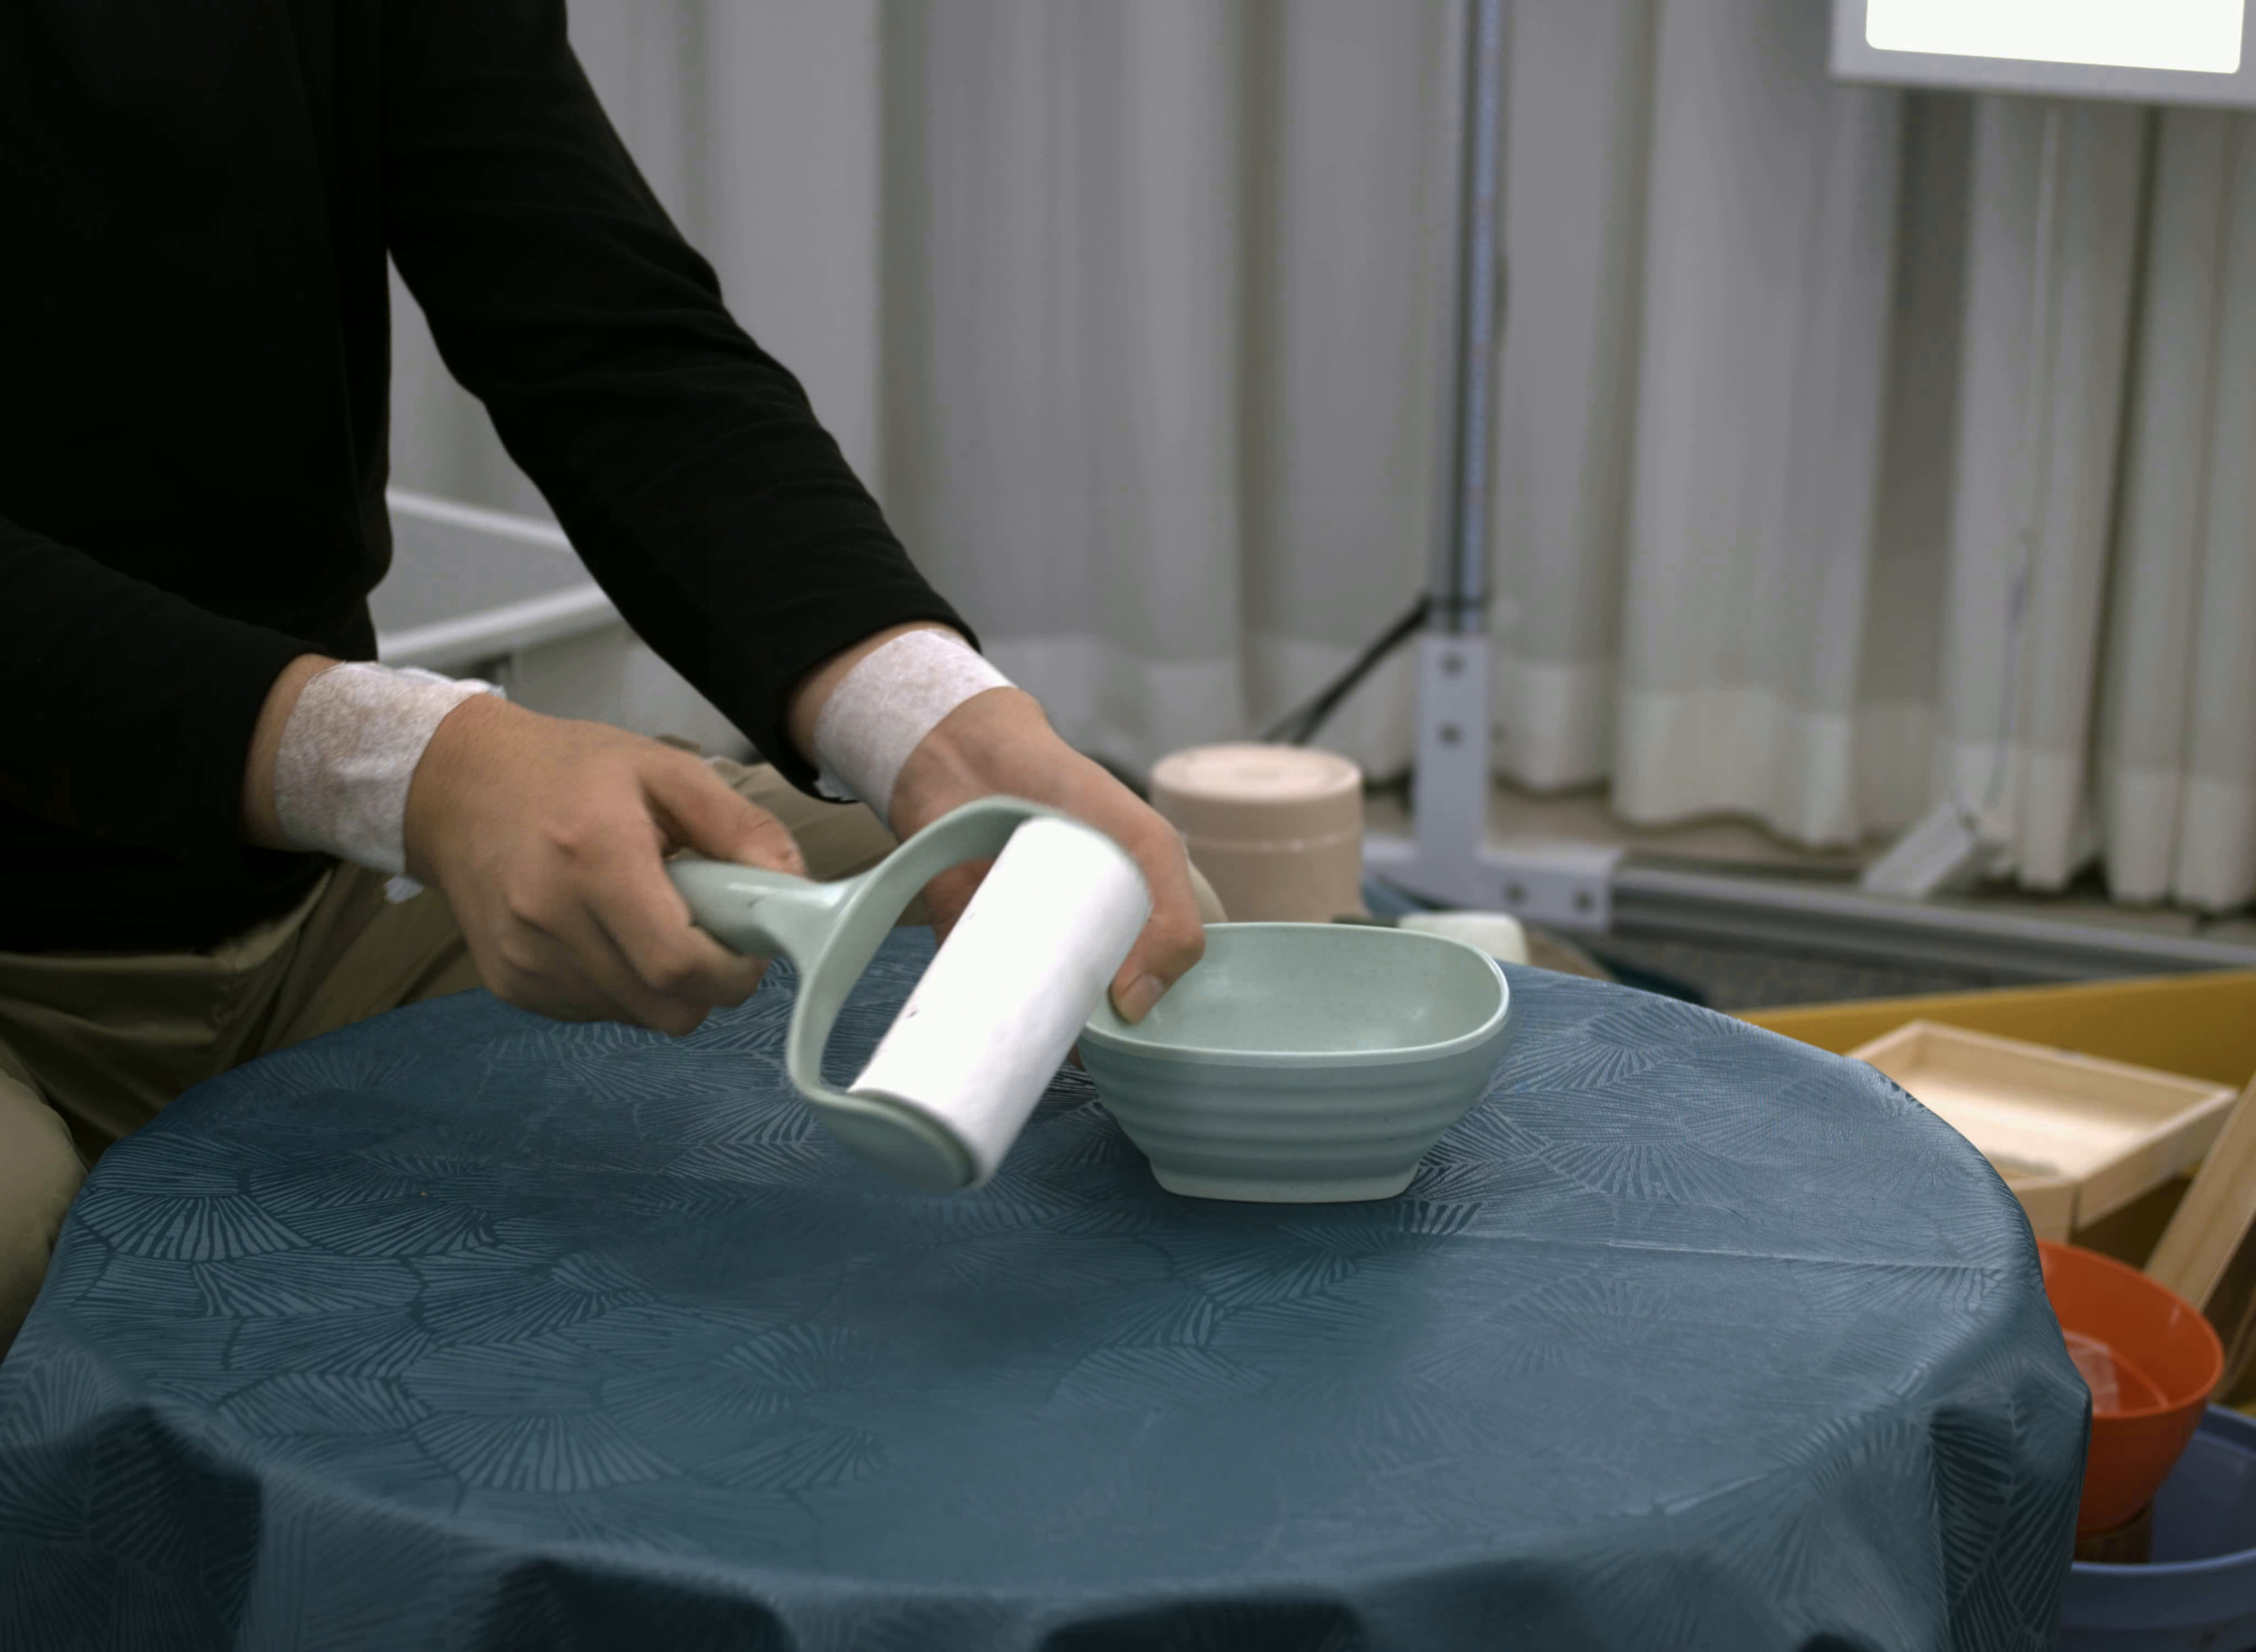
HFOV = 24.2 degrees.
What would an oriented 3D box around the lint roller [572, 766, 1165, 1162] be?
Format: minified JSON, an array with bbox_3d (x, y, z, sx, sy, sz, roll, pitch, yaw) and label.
[{"bbox_3d":[-0.091,0.028,1.553,0.195,0.049,0.116,13,61,33],"label":"lint roller"}]

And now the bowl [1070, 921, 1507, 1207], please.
[{"bbox_3d":[0.048,0.077,1.643,0.151,0.059,0.150,2,16,0],"label":"bowl"}]
